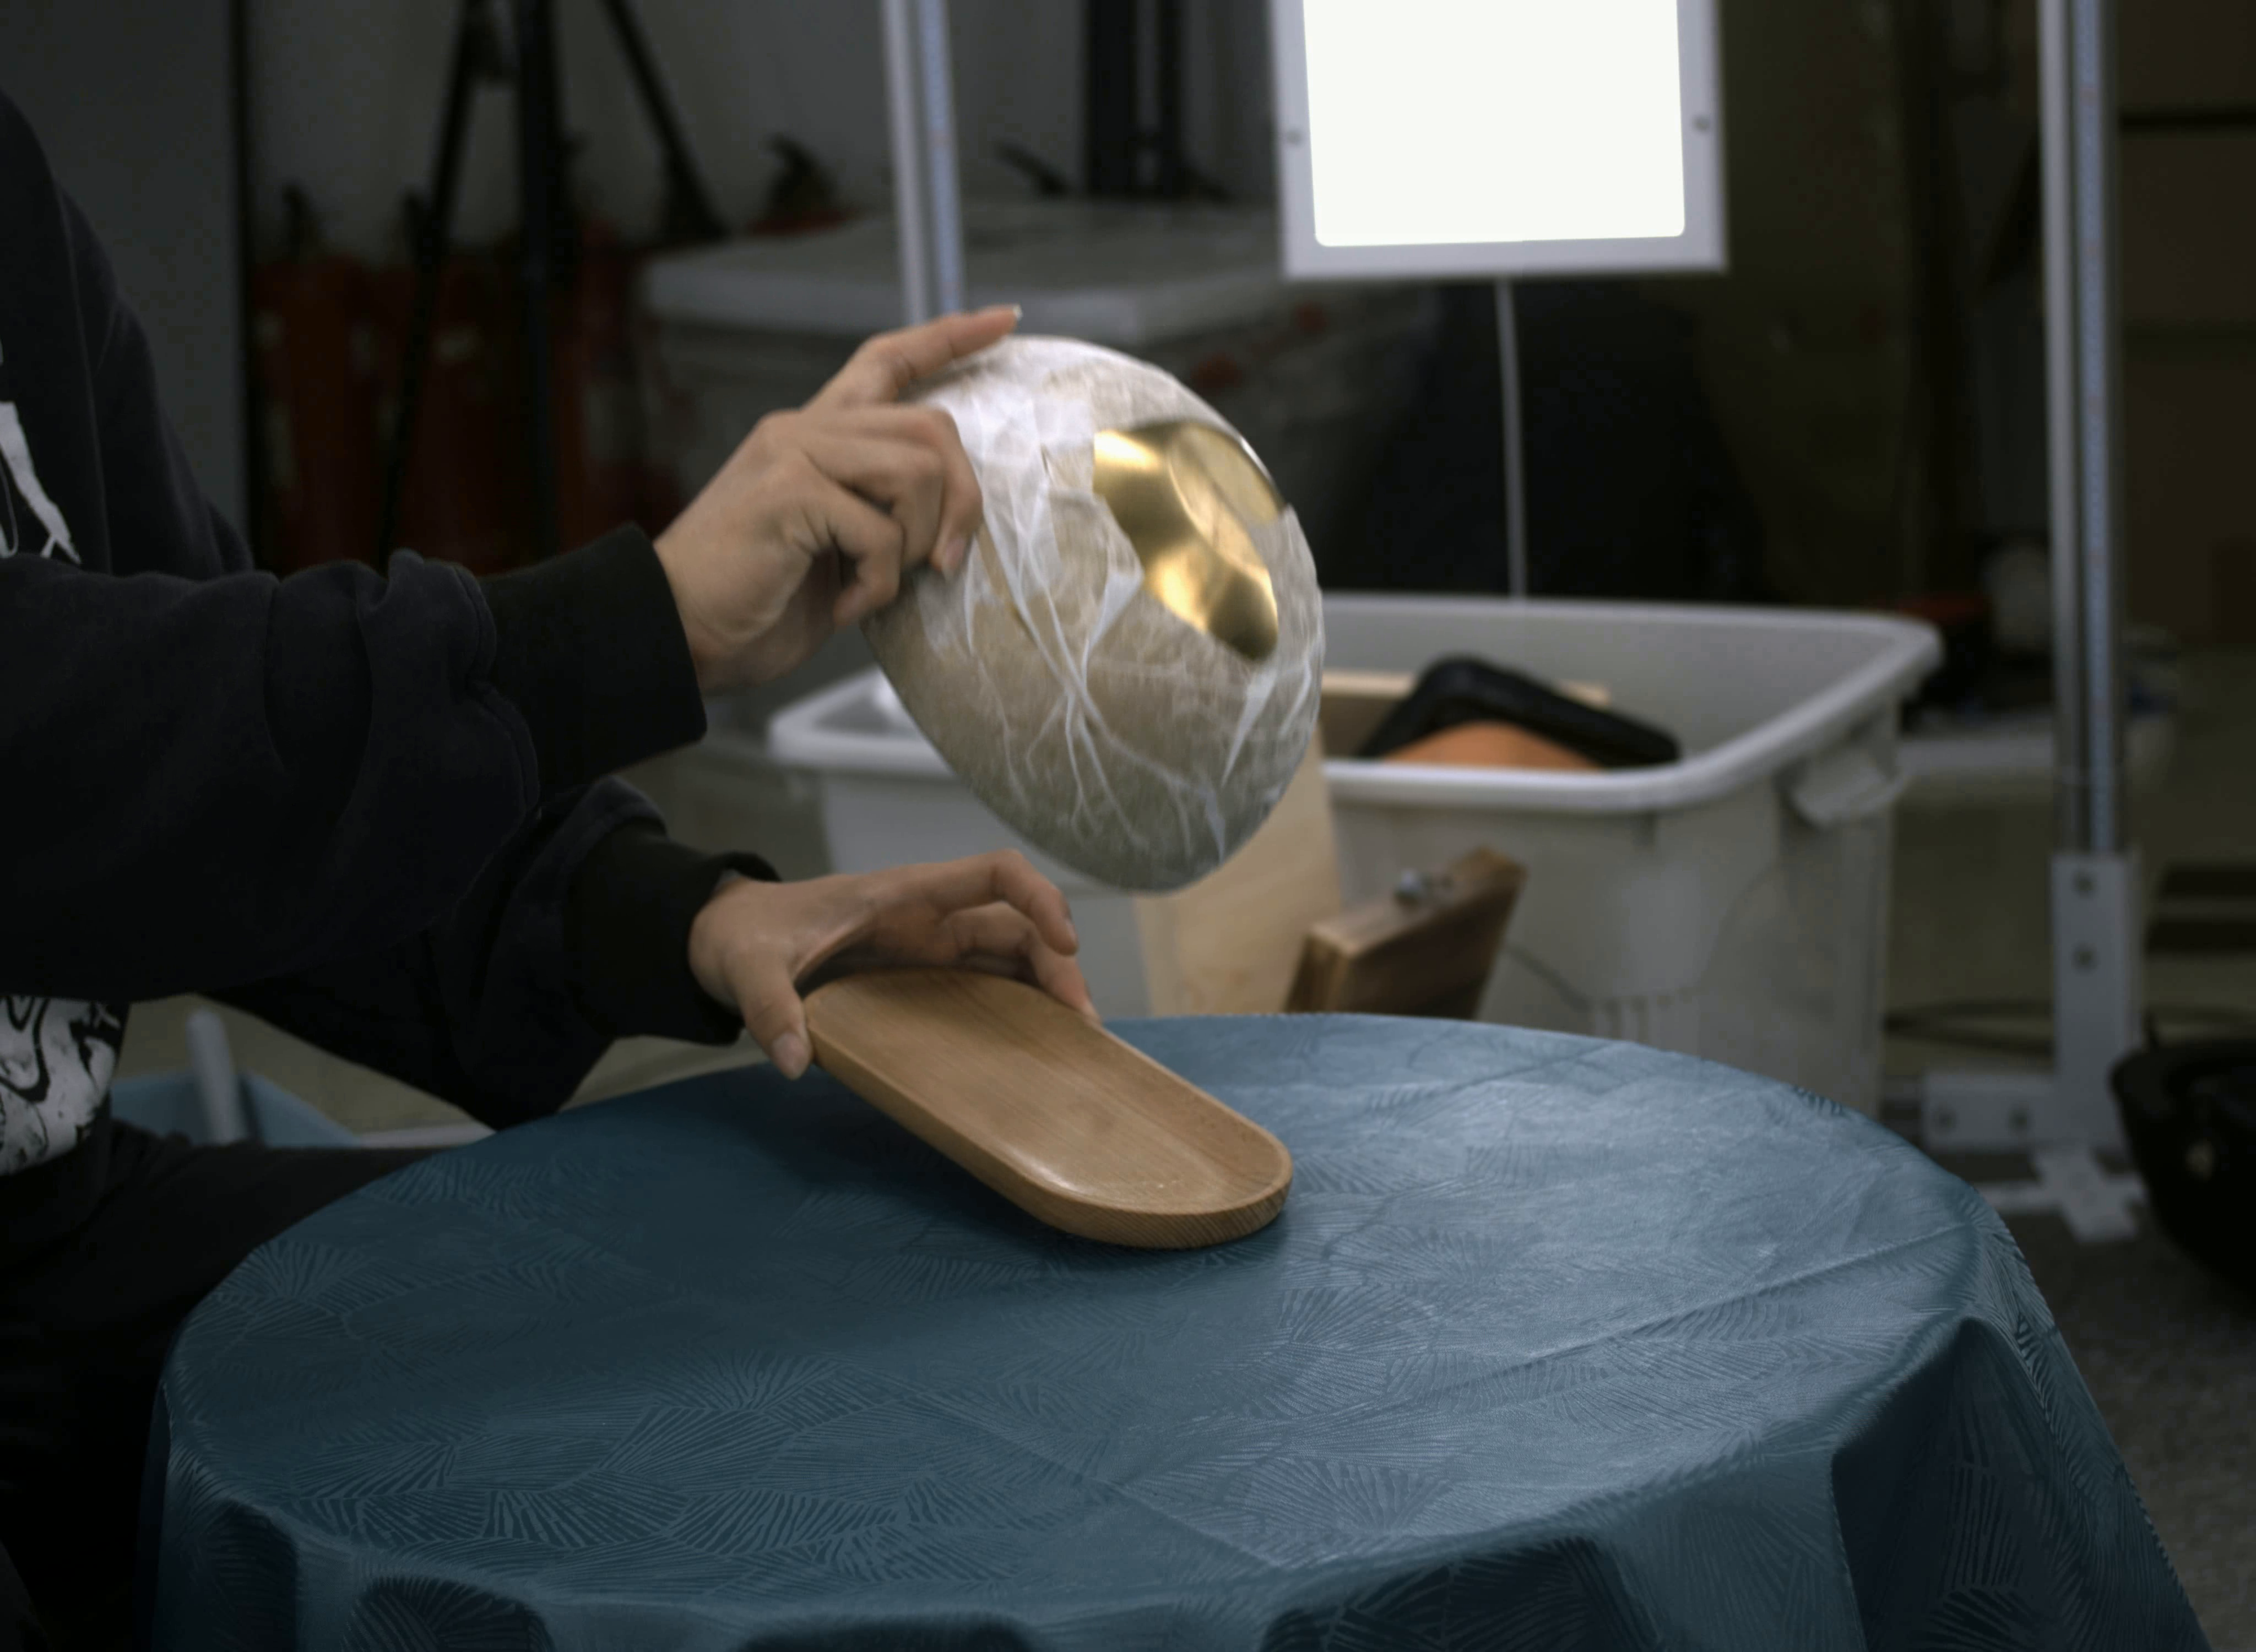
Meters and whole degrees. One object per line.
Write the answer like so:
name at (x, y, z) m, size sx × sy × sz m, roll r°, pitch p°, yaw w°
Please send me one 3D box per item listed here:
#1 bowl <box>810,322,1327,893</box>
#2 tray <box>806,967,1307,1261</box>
bowl at (0.001, -0.086, 1.831) m, size 0.096 × 0.215 × 0.210 m, roll -34°, pitch -3°, yaw 30°
tray at (-0.027, 0.098, 1.917) m, size 0.099 × 0.020 × 0.235 m, roll -13°, pitch 28°, yaw -32°
